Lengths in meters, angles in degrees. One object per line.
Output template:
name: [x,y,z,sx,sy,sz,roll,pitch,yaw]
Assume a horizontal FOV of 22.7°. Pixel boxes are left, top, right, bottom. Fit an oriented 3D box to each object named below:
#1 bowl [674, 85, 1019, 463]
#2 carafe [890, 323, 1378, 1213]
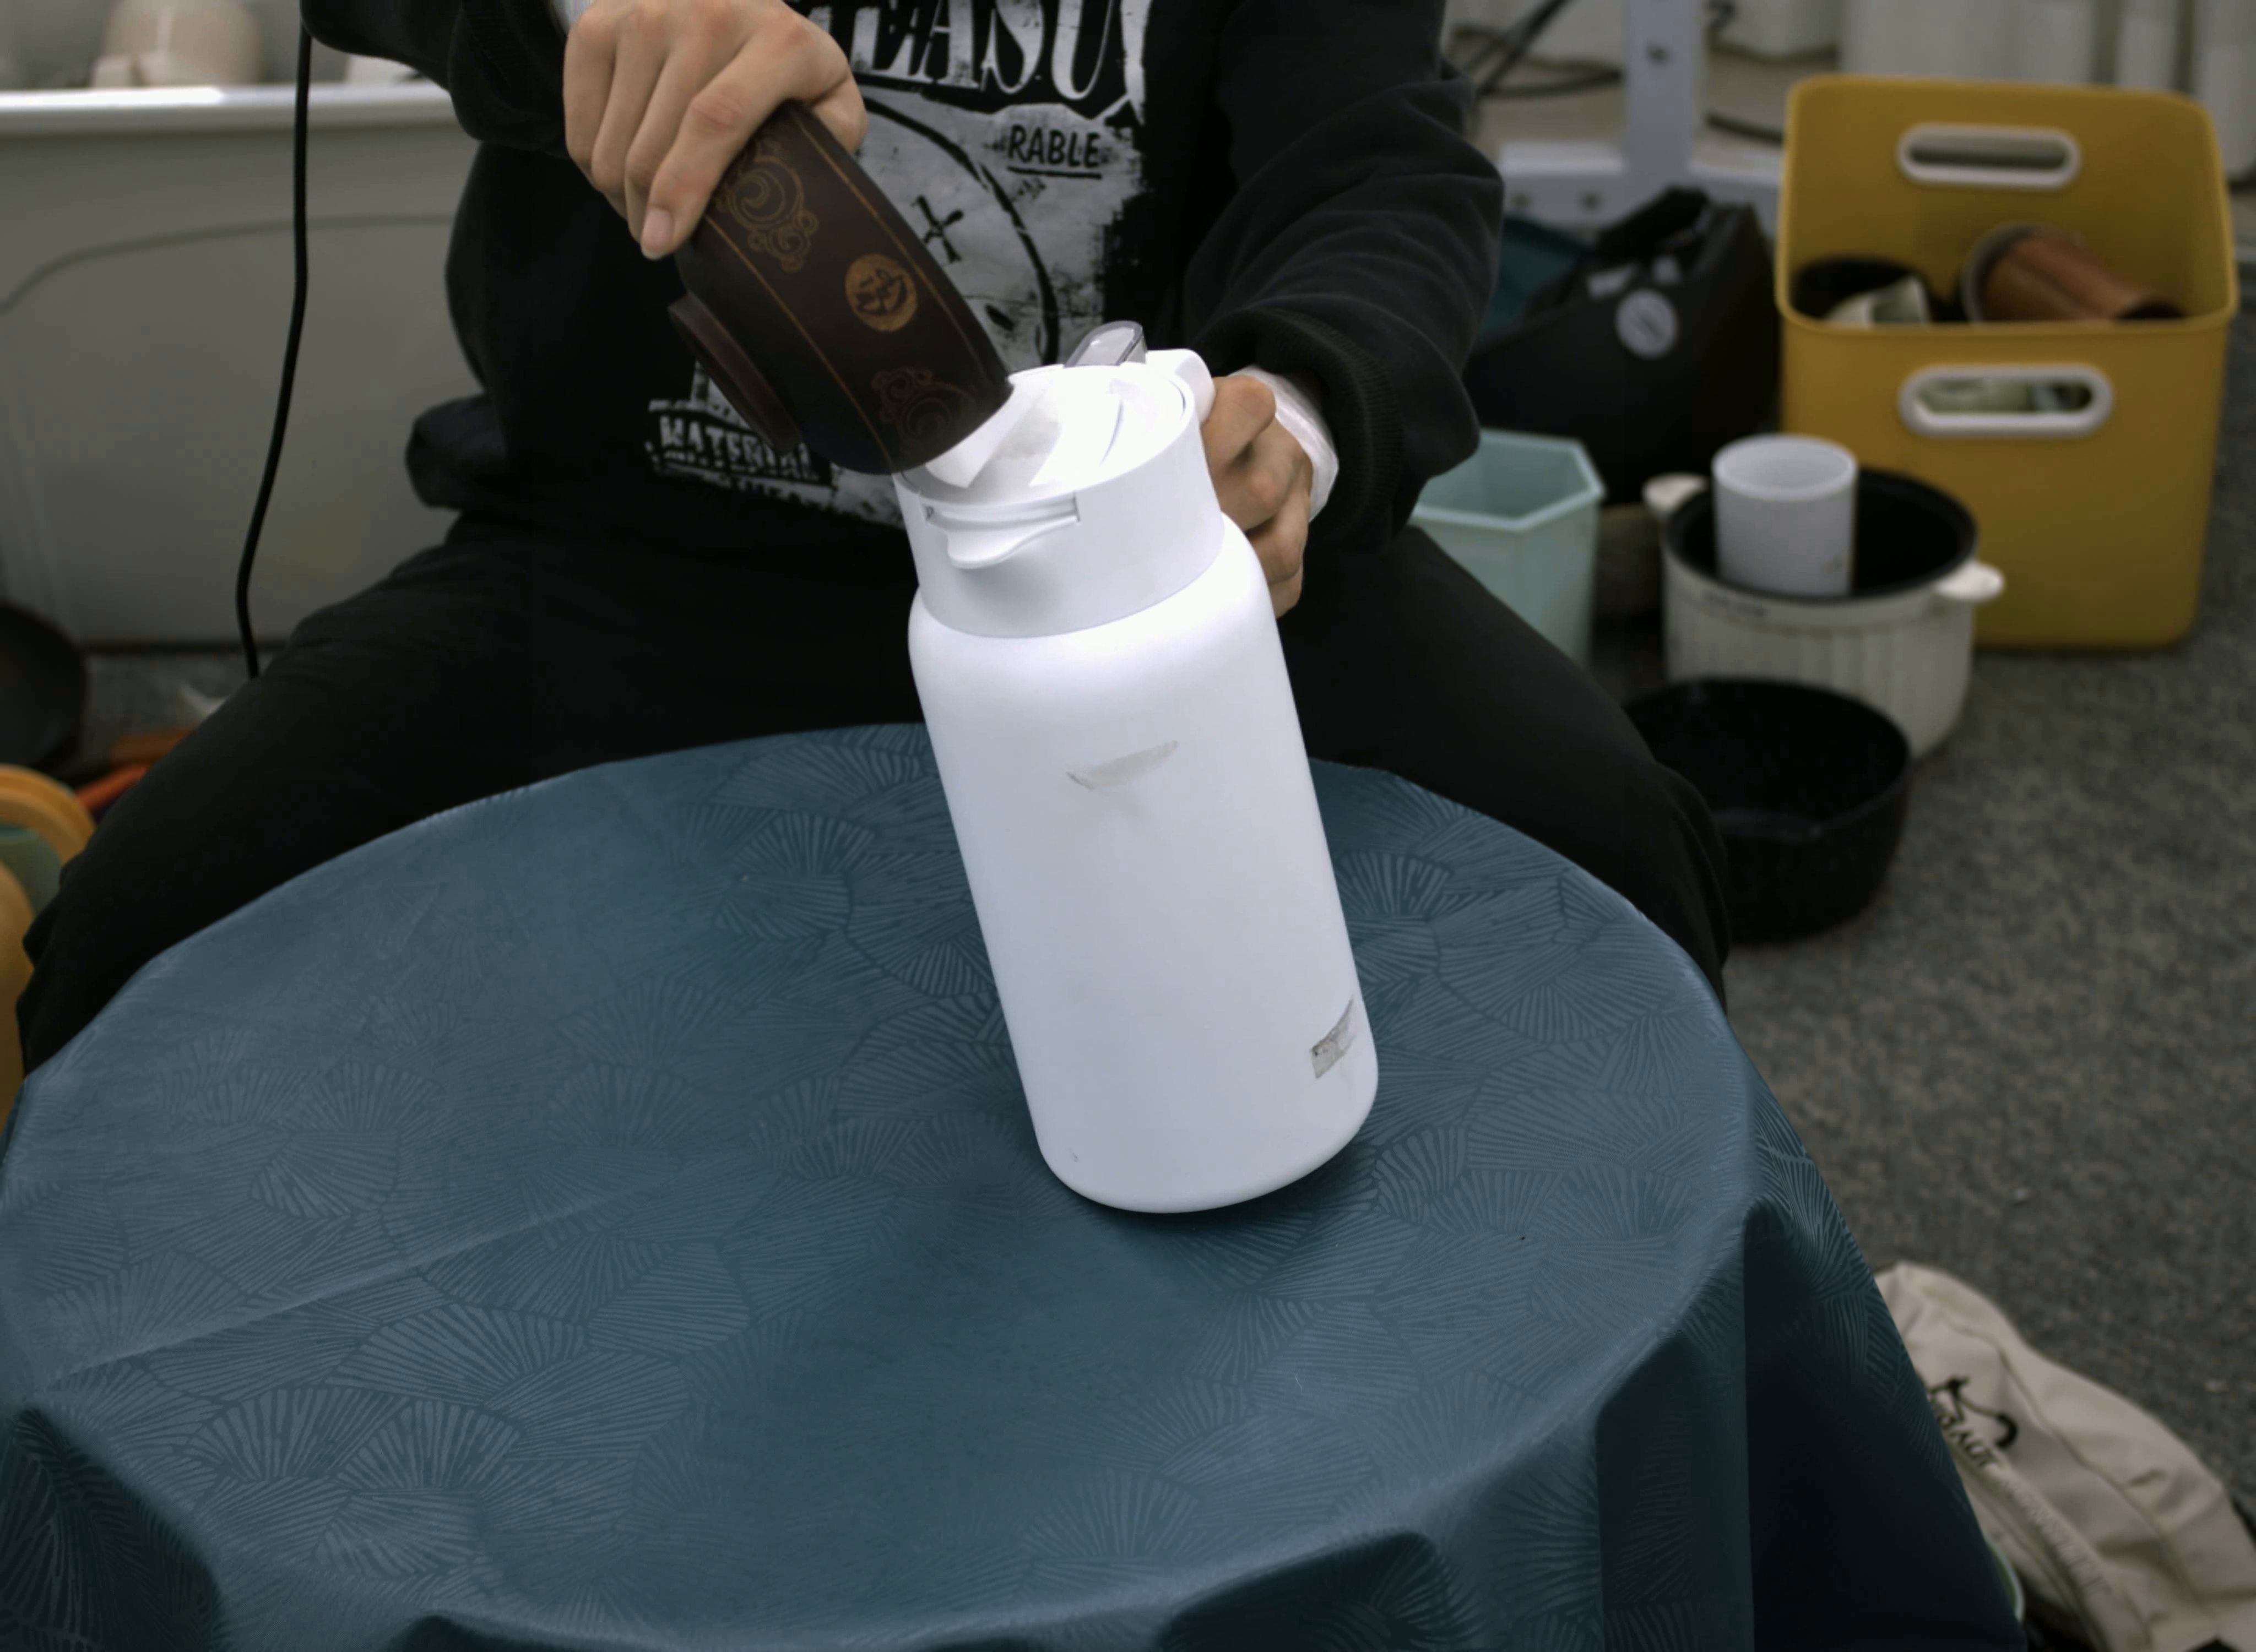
bowl: [-0.095,-0.160,1.725,0.070,0.117,0.119,-39,35,-6]
carafe: [0.005,-0.022,1.836,0.122,0.266,0.176,-4,29,23]
